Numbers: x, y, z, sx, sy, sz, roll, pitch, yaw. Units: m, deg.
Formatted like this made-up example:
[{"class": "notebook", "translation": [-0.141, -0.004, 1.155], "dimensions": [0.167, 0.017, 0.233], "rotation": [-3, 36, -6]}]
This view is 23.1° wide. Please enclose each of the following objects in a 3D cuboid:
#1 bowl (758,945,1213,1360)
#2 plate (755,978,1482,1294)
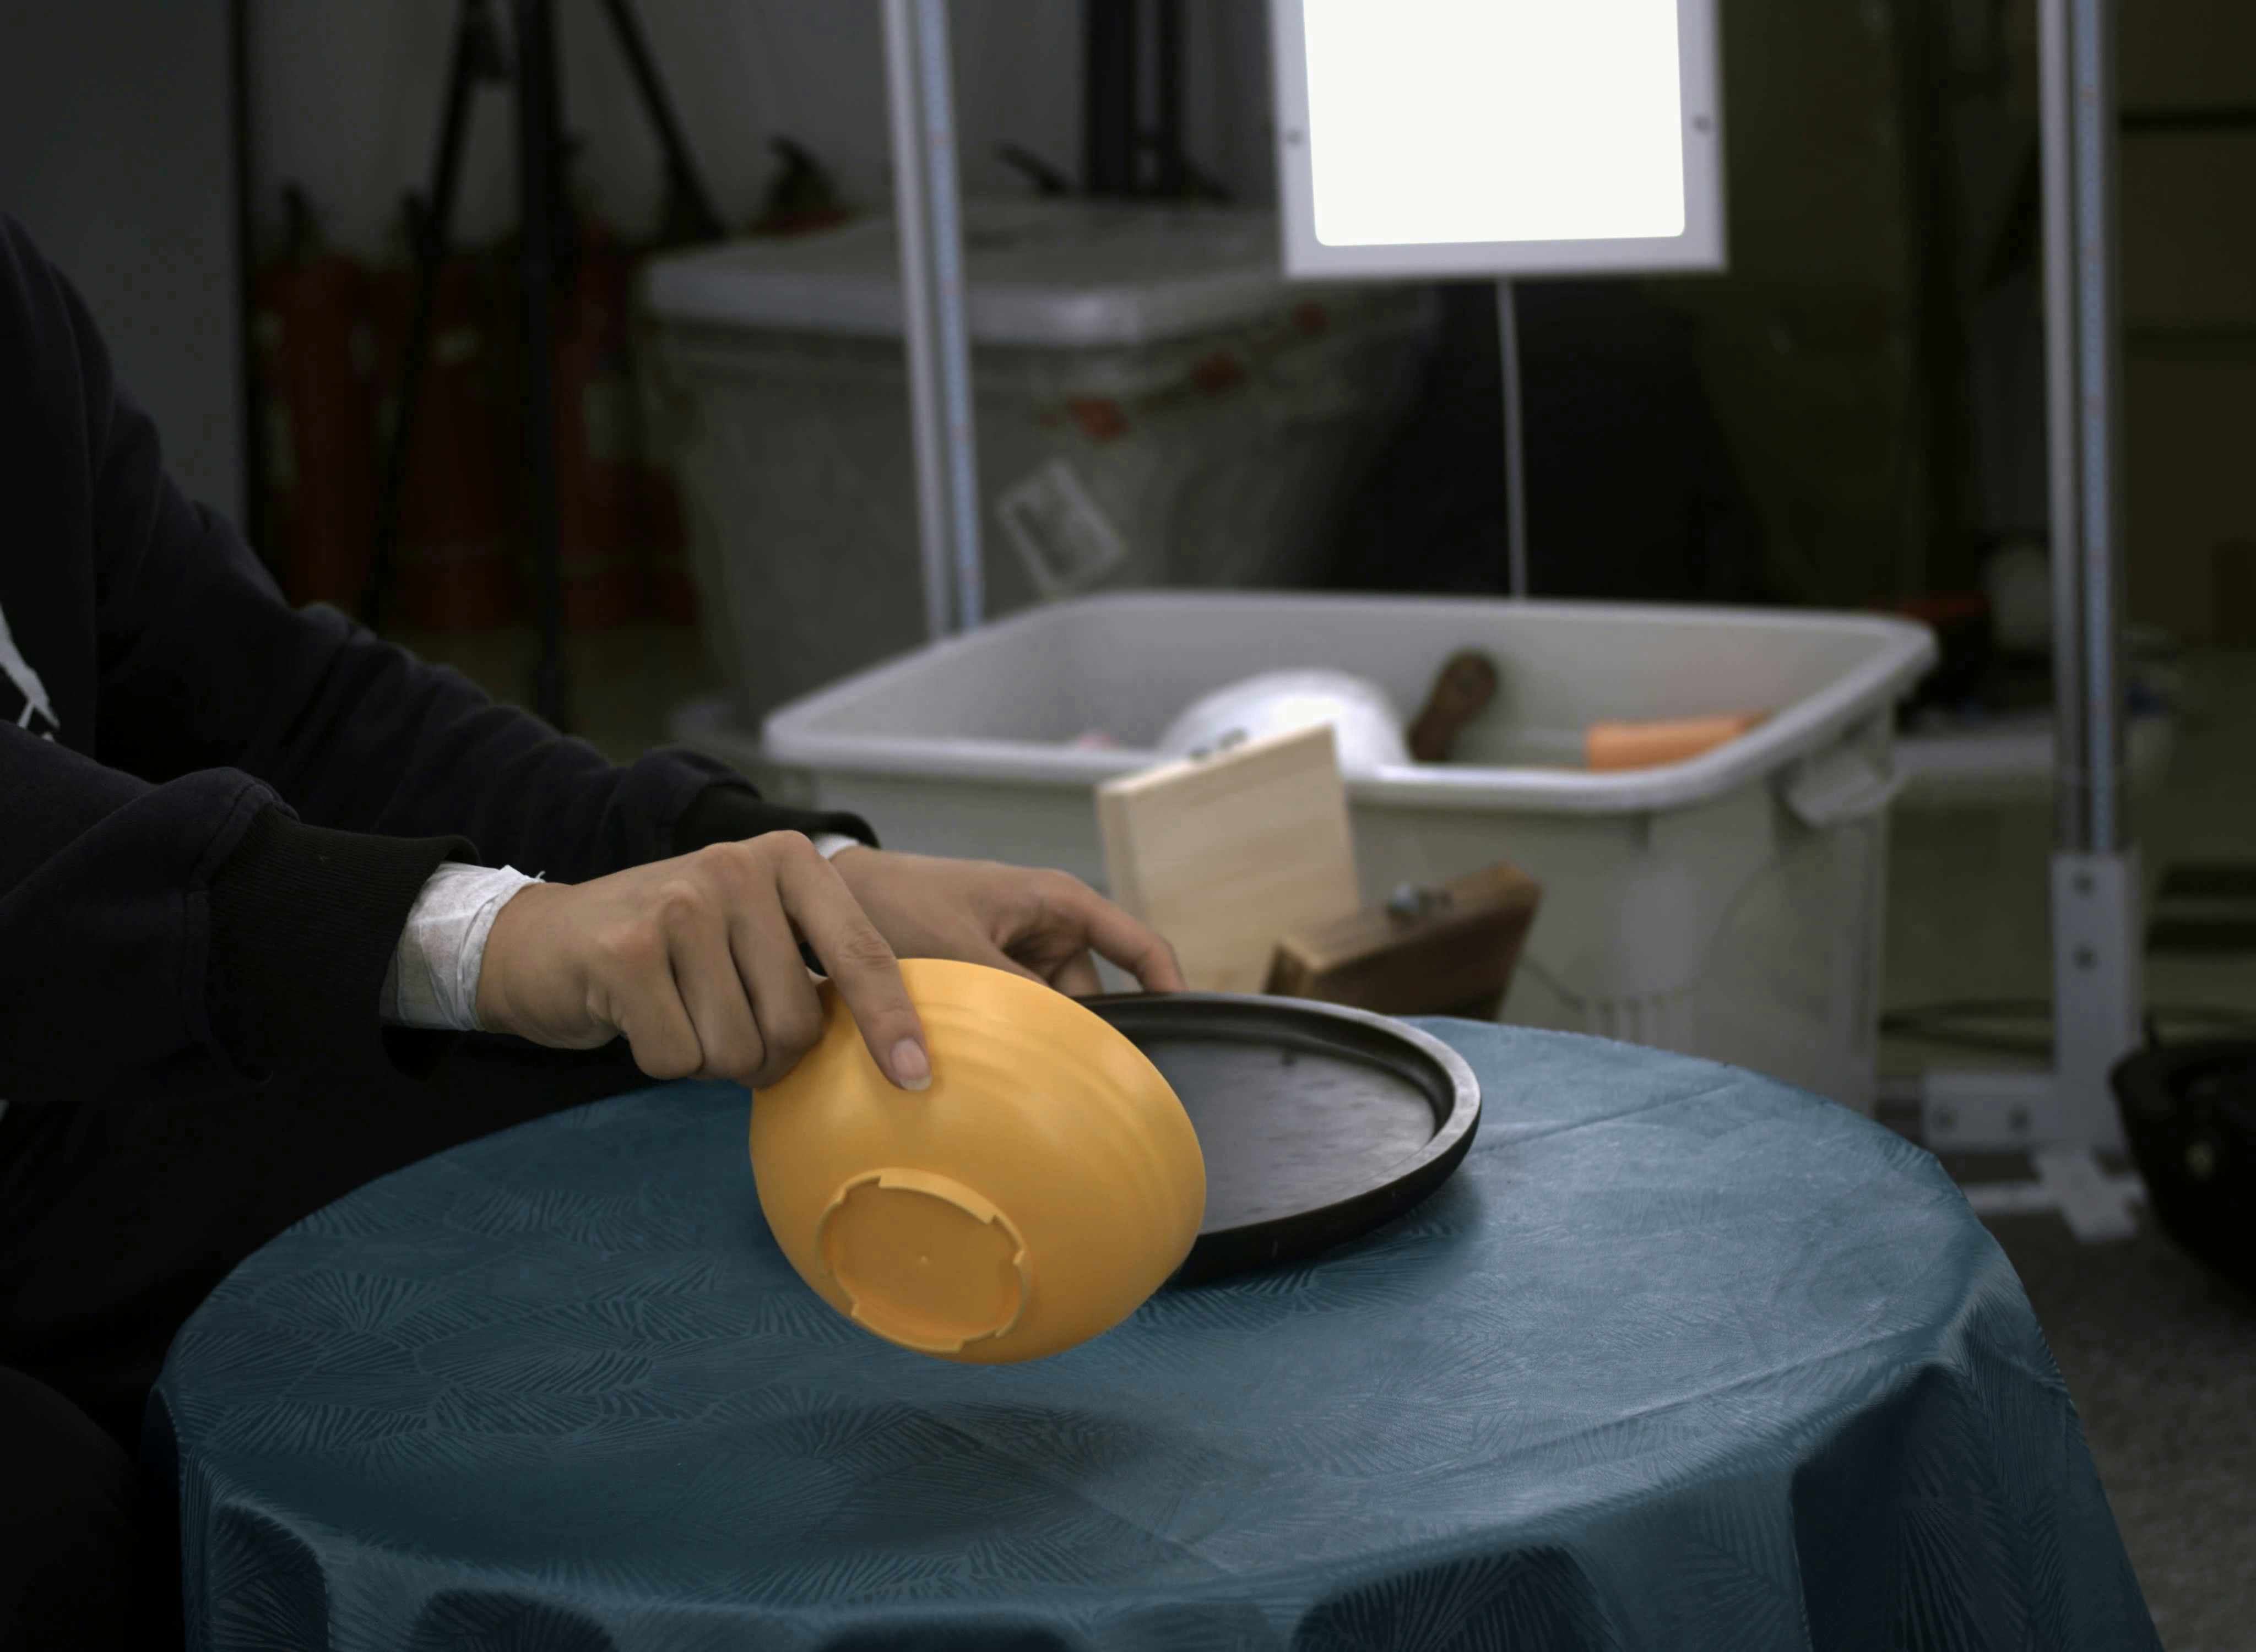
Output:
[{"class": "bowl", "translation": [-0.051, 0.110, 1.641], "dimensions": [0.147, 0.145, 0.059], "rotation": [2, 36, 23]}, {"class": "plate", "translation": [-0.003, 0.107, 1.905], "dimensions": [0.254, 0.029, 0.254], "rotation": [-6, 18, 0]}]
